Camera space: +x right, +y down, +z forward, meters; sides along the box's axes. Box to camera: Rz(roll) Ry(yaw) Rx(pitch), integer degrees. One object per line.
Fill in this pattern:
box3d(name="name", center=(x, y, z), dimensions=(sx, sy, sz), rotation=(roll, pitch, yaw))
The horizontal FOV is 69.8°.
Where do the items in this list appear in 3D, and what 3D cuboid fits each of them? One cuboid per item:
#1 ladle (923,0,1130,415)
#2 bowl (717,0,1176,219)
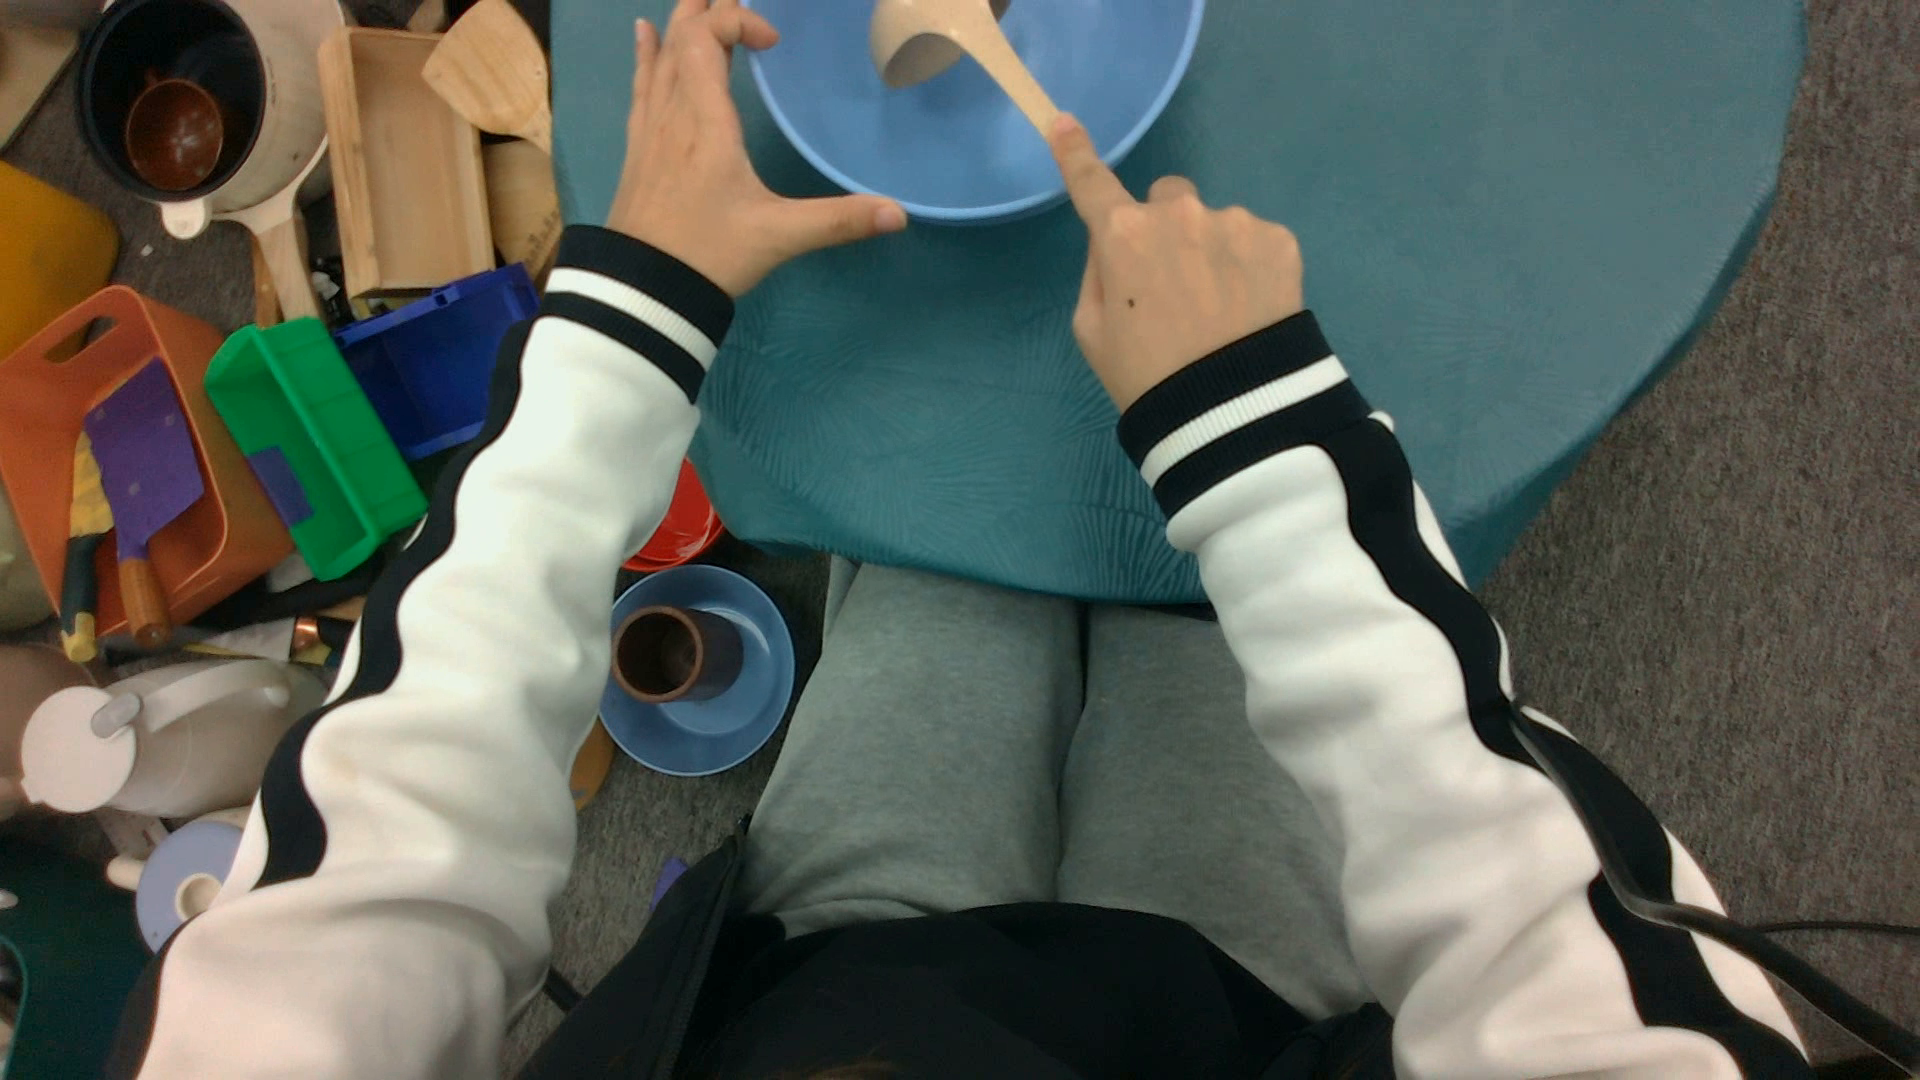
box3d(name="ladle", center=(0.048, -0.159, 0.579), dimensions=(0.073, 0.072, 0.255), rotation=(0, 61, -37))
box3d(name="bowl", center=(-0.002, -0.229, 0.625), dimensions=(0.196, 0.095, 0.196), rotation=(-1, 82, 6))
